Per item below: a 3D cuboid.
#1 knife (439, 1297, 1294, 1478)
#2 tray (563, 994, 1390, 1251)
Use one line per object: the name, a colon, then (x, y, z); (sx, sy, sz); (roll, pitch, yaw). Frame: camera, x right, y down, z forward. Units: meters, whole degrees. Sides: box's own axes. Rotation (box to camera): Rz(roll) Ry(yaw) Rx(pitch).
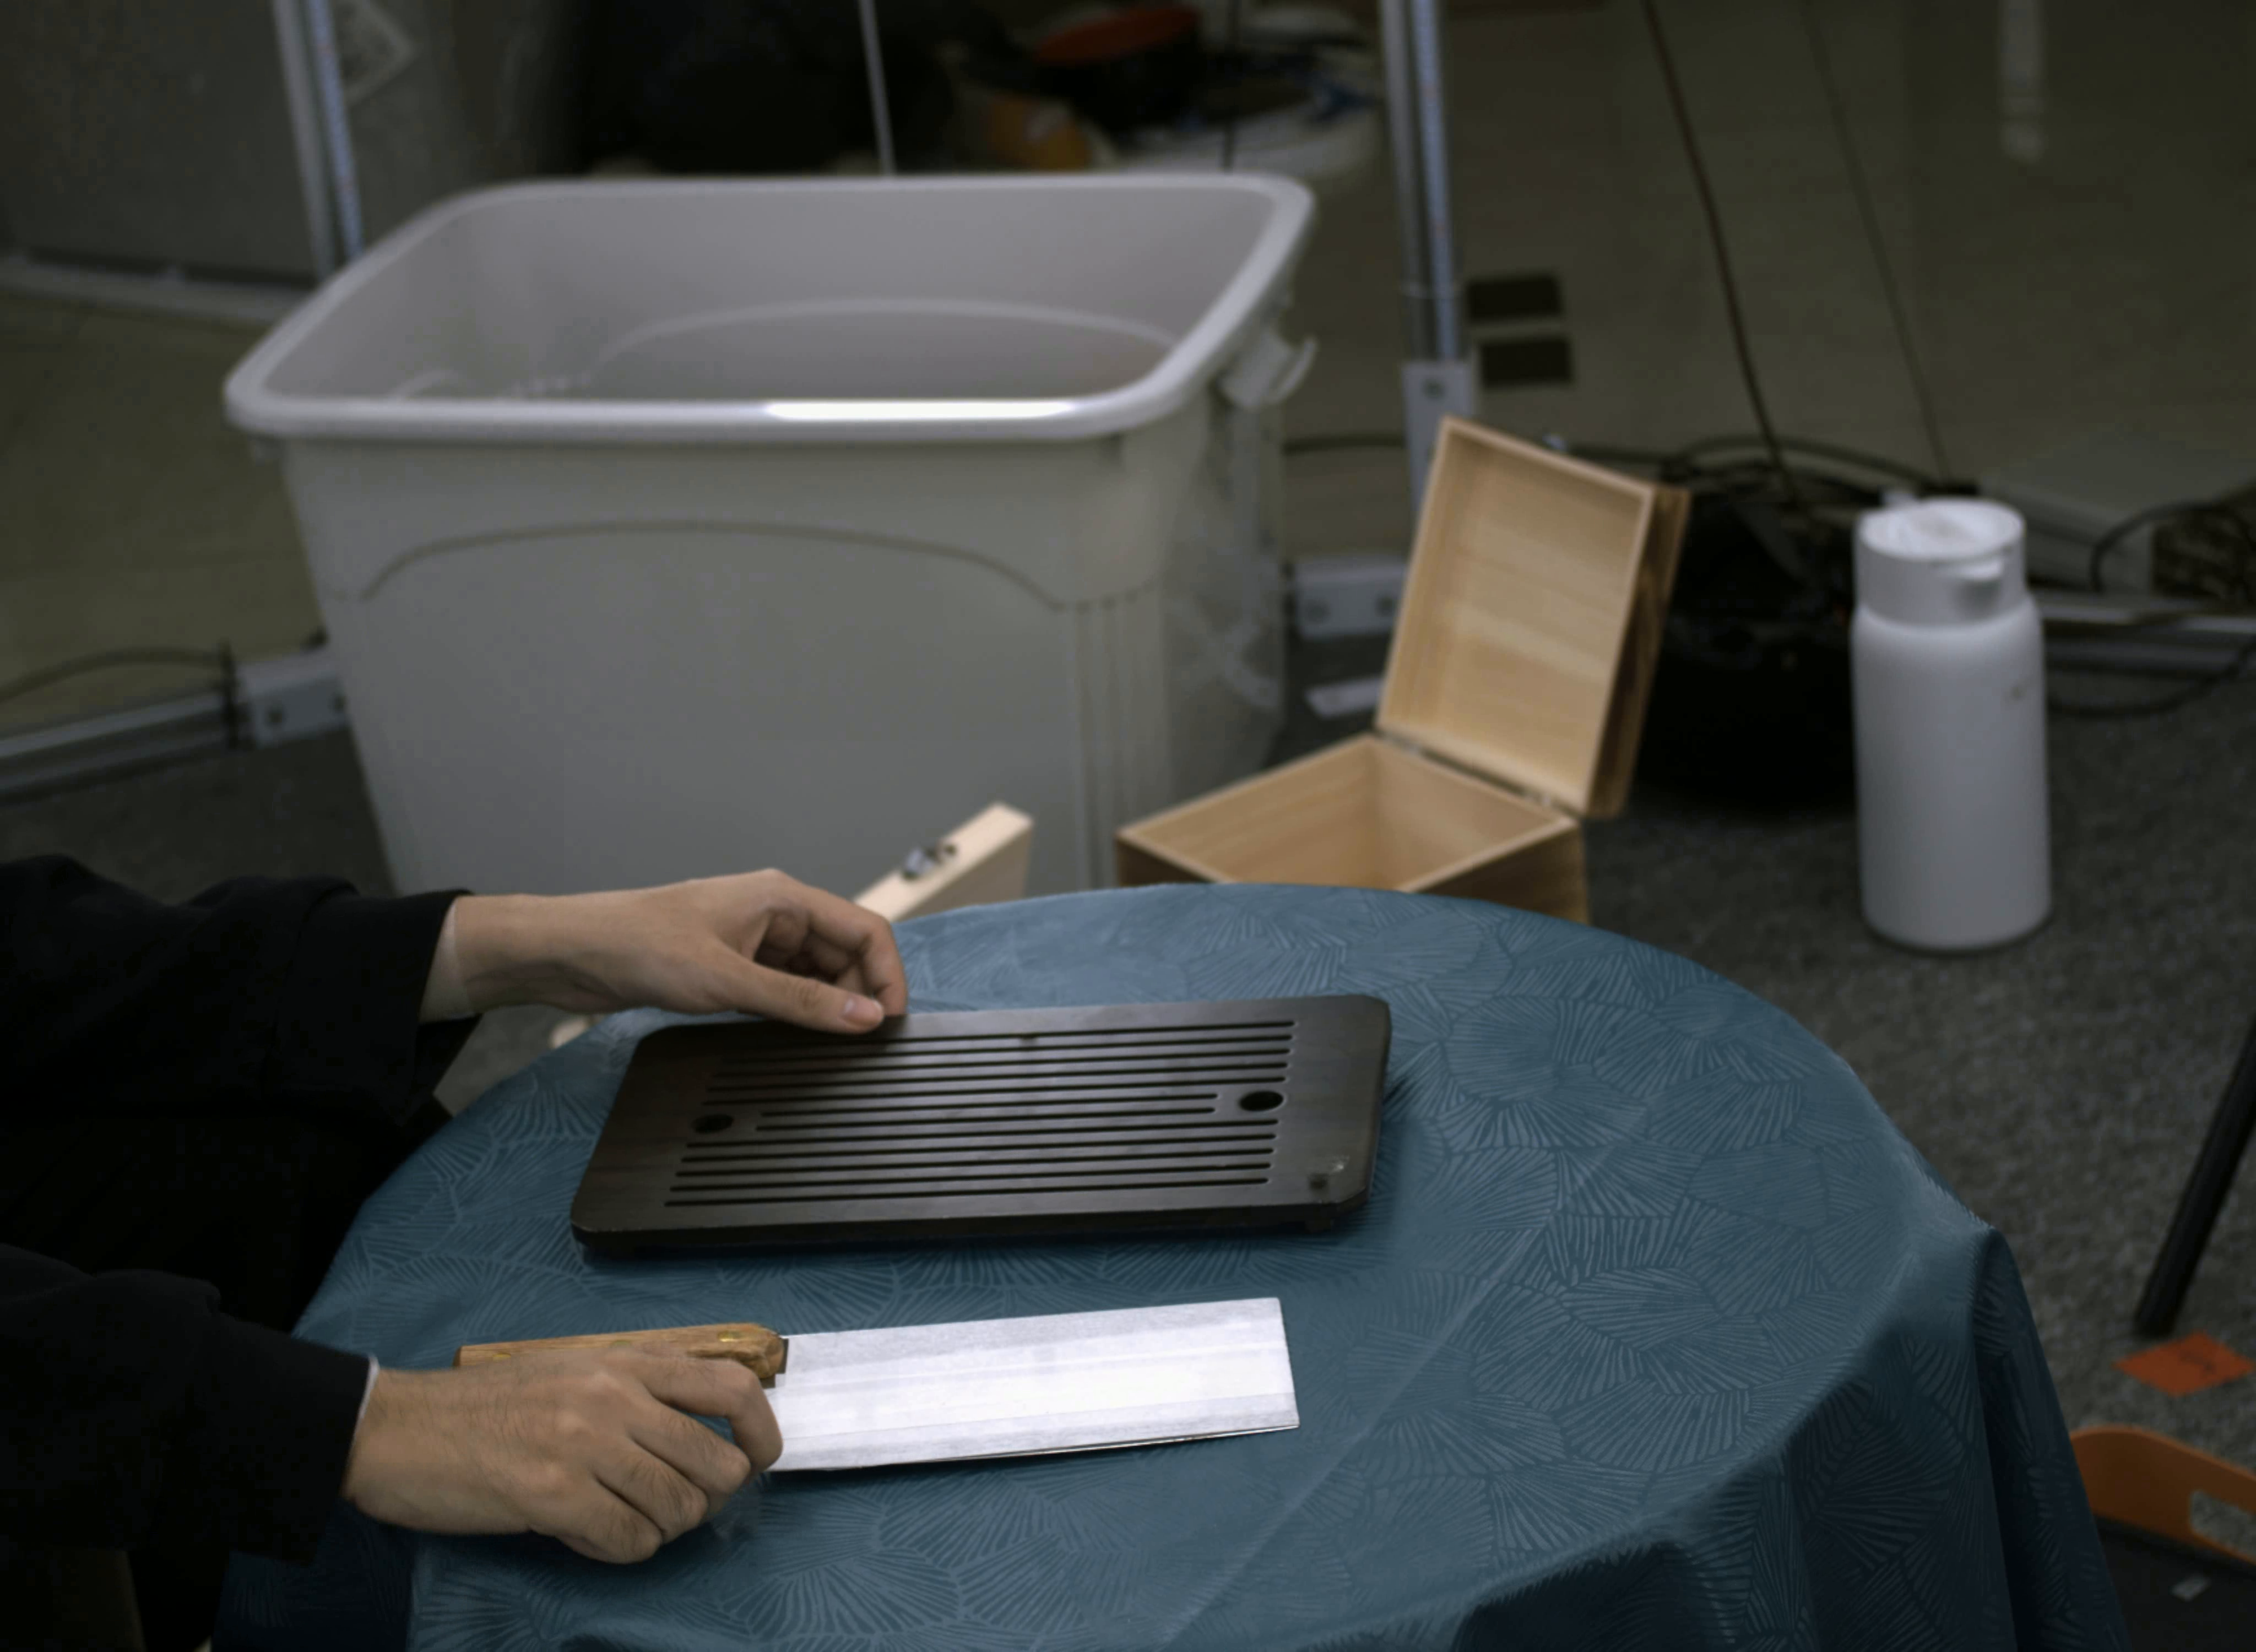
knife: (-0.094, 0.202, 2.018); (0.305, 0.021, 0.091); (-5, 27, -1)
tray: (-0.055, 0.115, 2.190); (0.305, 0.019, 0.167); (-2, 26, 8)
